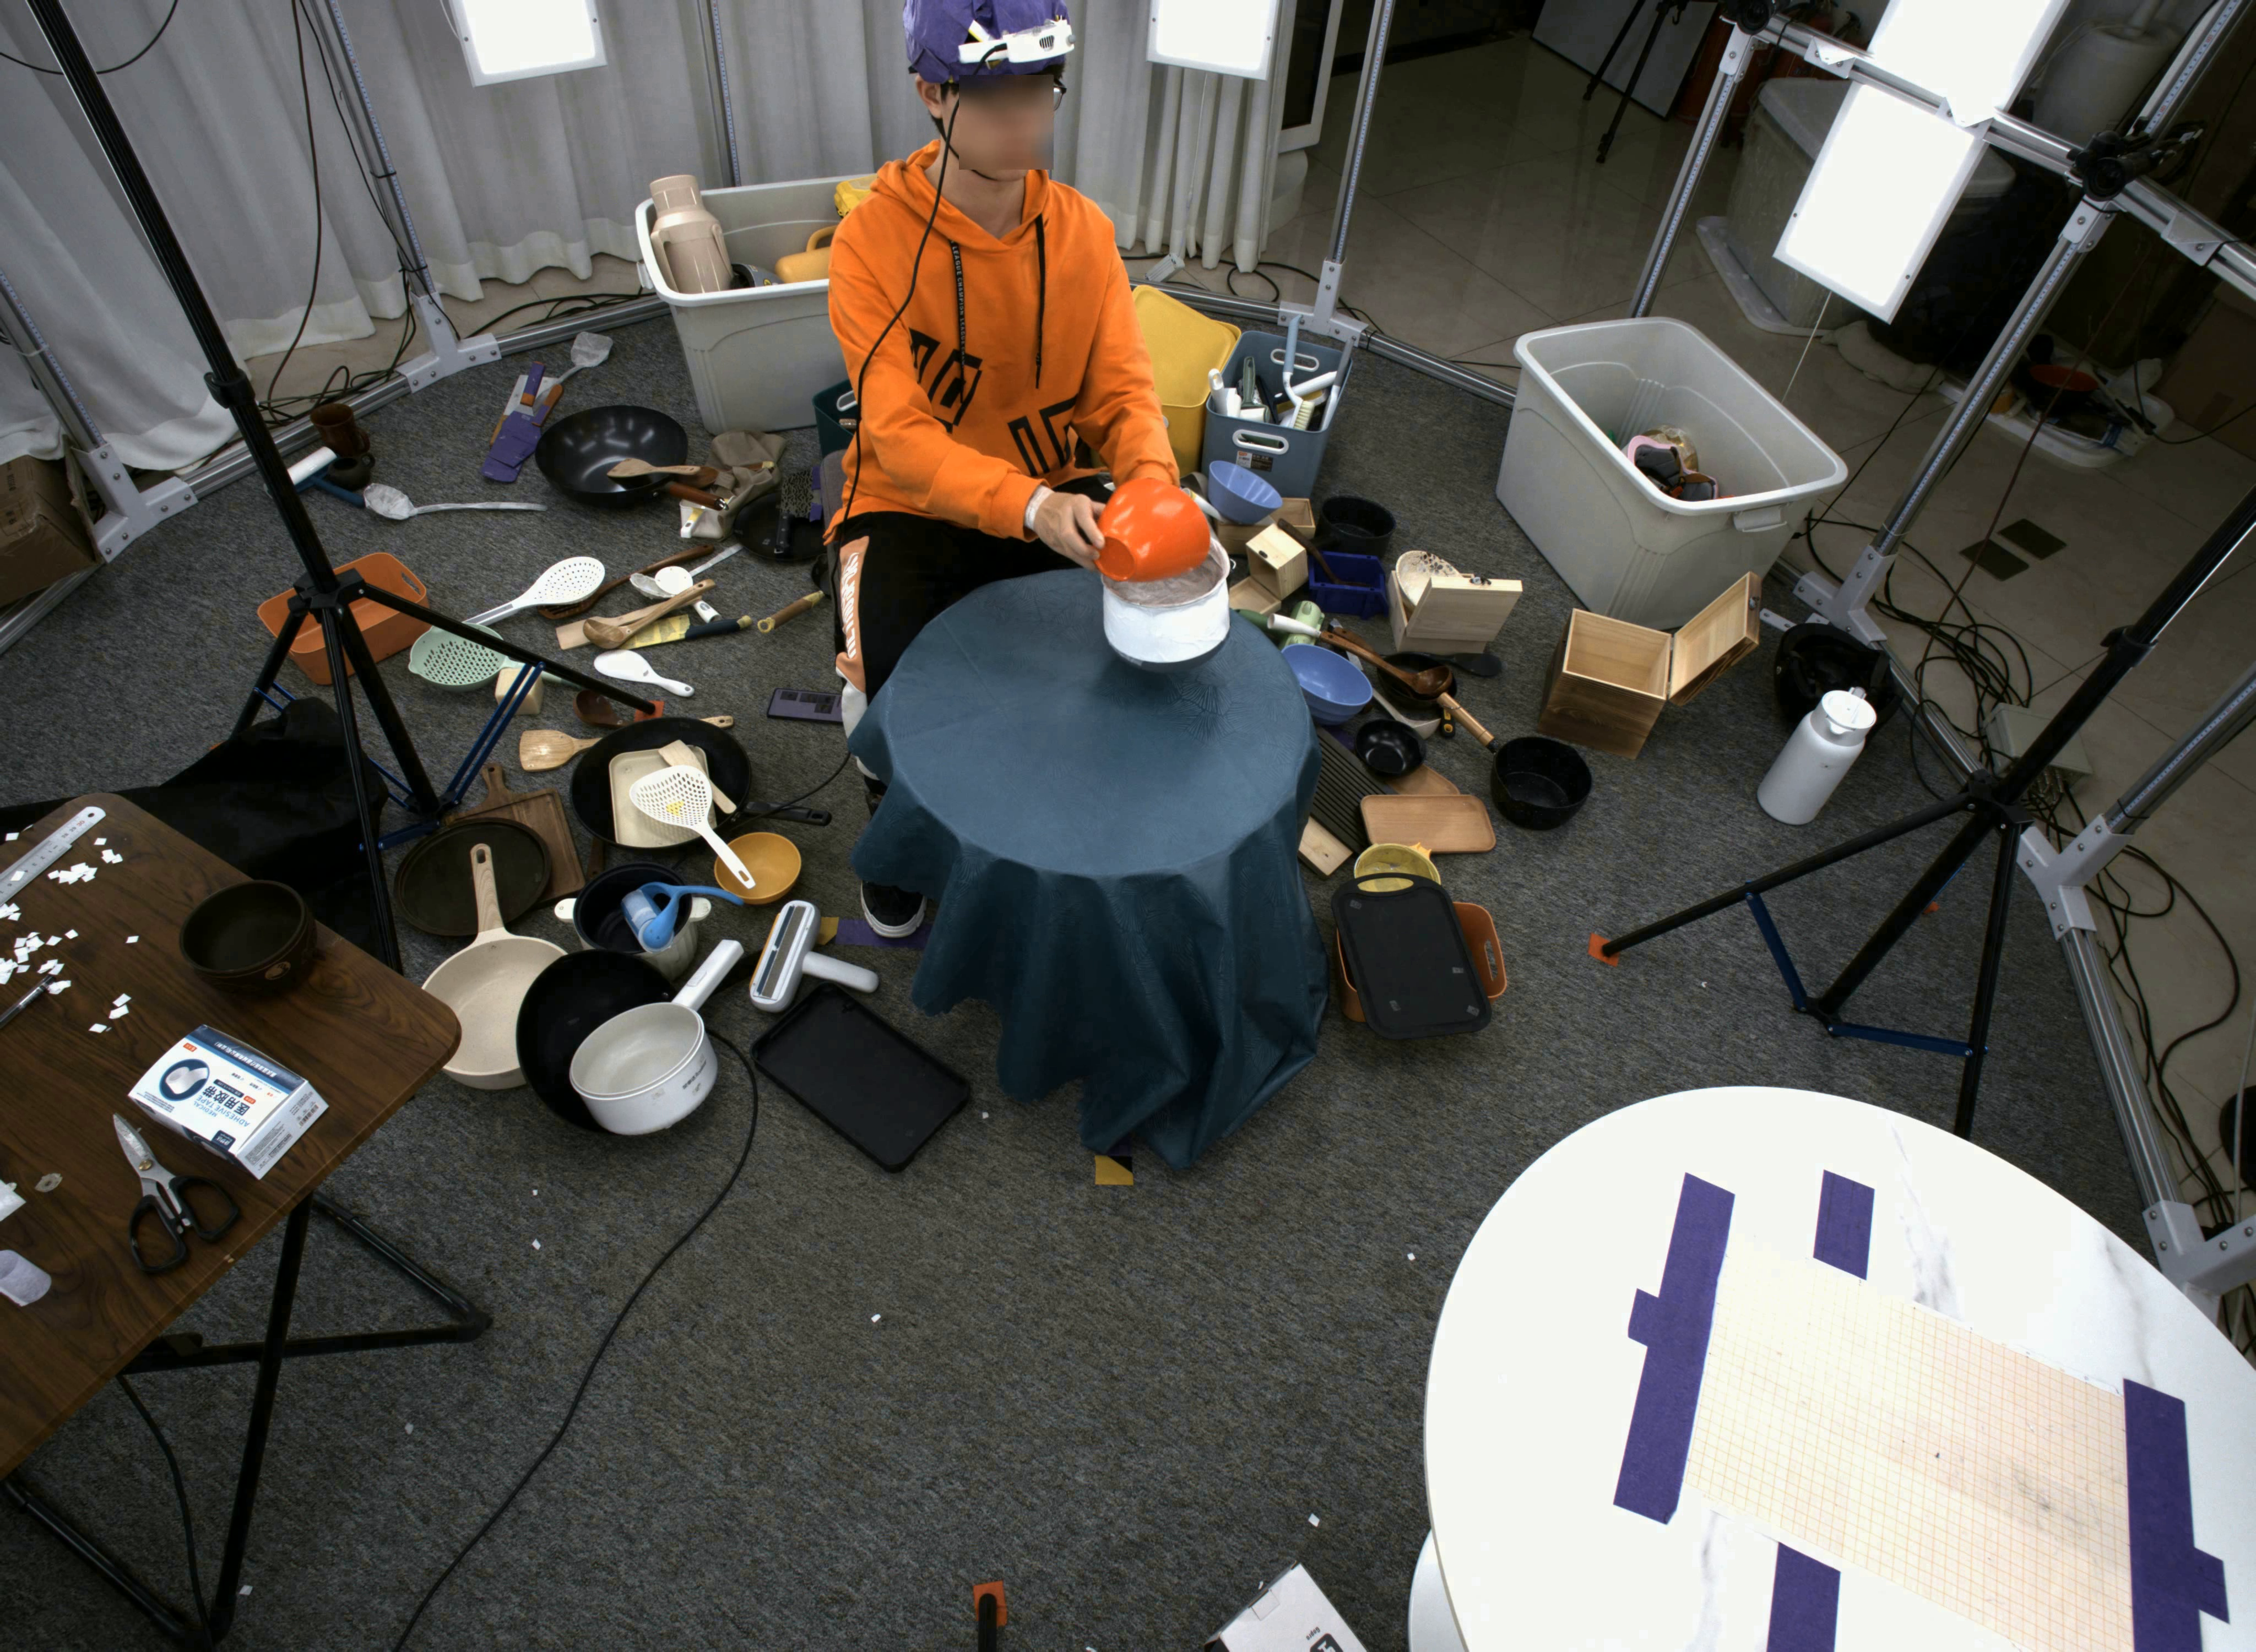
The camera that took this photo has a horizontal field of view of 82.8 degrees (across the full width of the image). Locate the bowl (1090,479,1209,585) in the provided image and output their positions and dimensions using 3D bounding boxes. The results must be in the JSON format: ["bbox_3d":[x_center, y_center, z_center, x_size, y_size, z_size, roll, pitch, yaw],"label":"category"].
[{"bbox_3d":[0.016,-0.366,1.674,0.149,0.144,0.106,27,48,18],"label":"bowl"}]

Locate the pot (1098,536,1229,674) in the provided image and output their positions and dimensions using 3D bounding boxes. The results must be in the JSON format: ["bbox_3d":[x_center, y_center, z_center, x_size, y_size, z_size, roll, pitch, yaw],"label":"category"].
[{"bbox_3d":[0.046,-0.329,1.796,0.178,0.133,0.240,-10,47,-5],"label":"pot"}]
